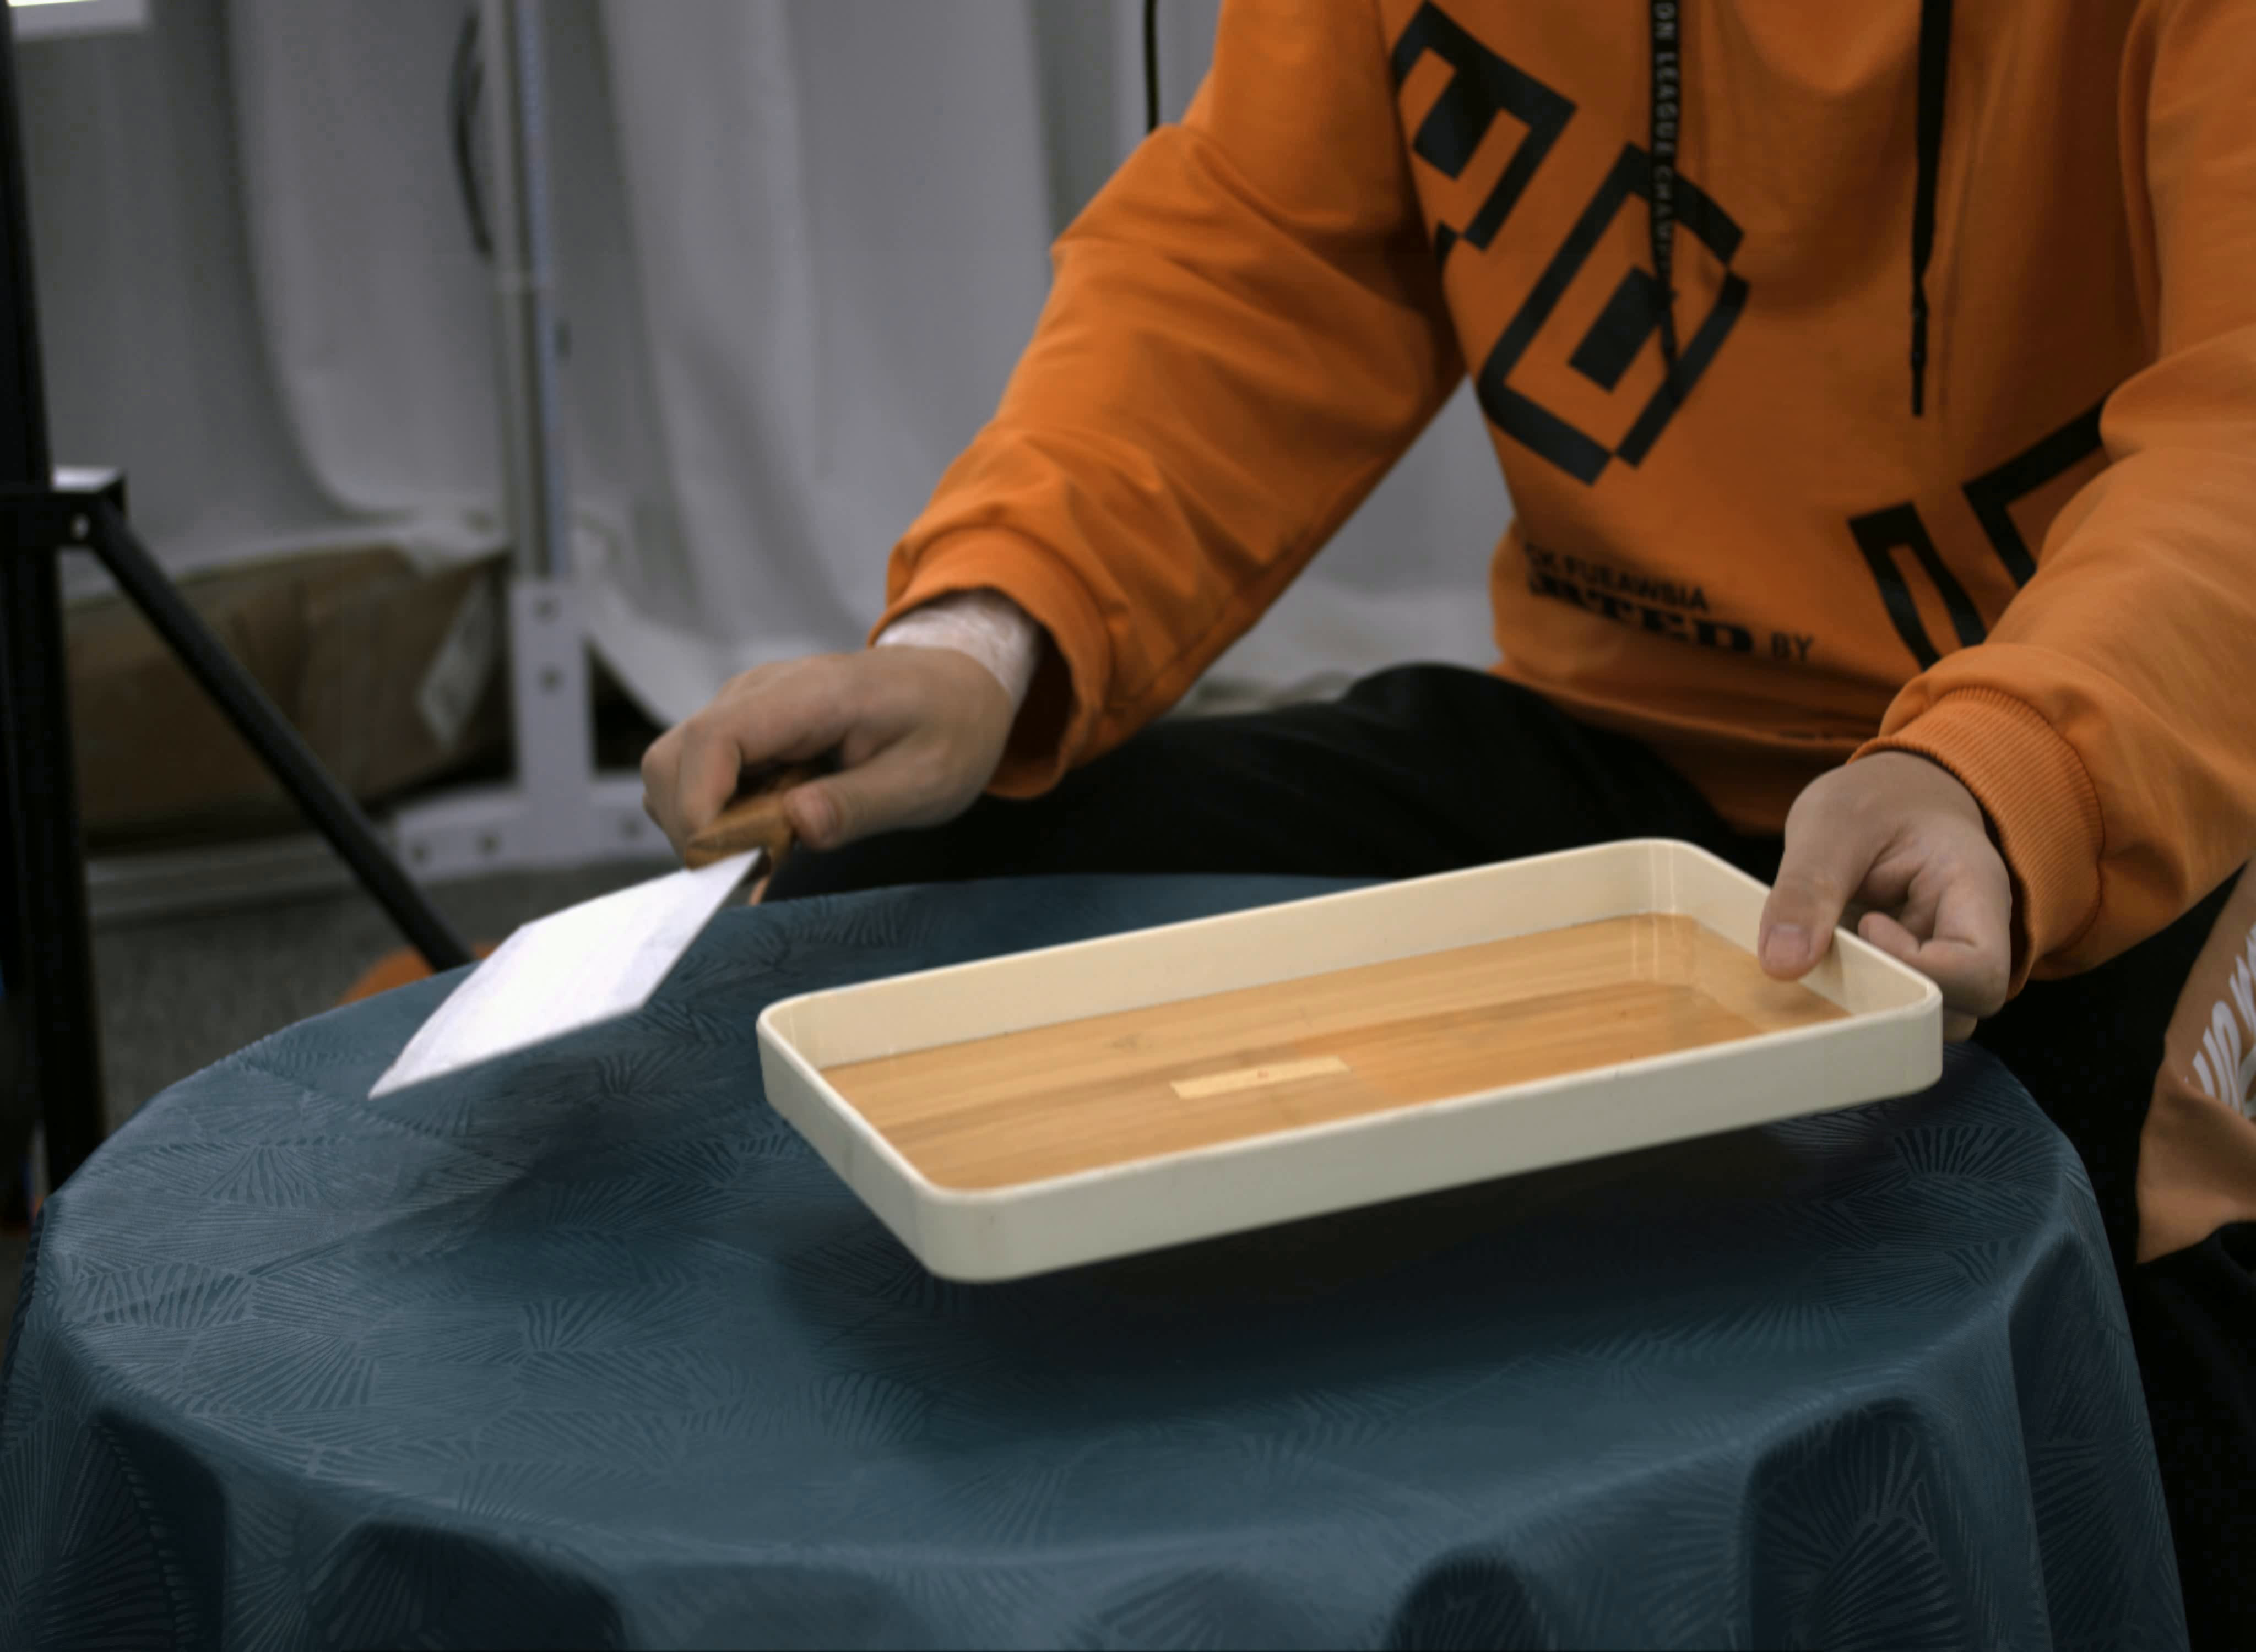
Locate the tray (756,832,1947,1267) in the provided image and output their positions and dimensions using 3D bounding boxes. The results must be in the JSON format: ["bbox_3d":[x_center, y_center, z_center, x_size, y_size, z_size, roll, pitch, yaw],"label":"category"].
[{"bbox_3d":[0.061,0.059,1.497,0.295,0.027,0.195,-10,17,-16],"label":"tray"}]

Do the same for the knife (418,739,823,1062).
[{"bbox_3d":[-0.158,0.024,1.676,0.093,0.021,0.305,-20,10,12],"label":"knife"}]
